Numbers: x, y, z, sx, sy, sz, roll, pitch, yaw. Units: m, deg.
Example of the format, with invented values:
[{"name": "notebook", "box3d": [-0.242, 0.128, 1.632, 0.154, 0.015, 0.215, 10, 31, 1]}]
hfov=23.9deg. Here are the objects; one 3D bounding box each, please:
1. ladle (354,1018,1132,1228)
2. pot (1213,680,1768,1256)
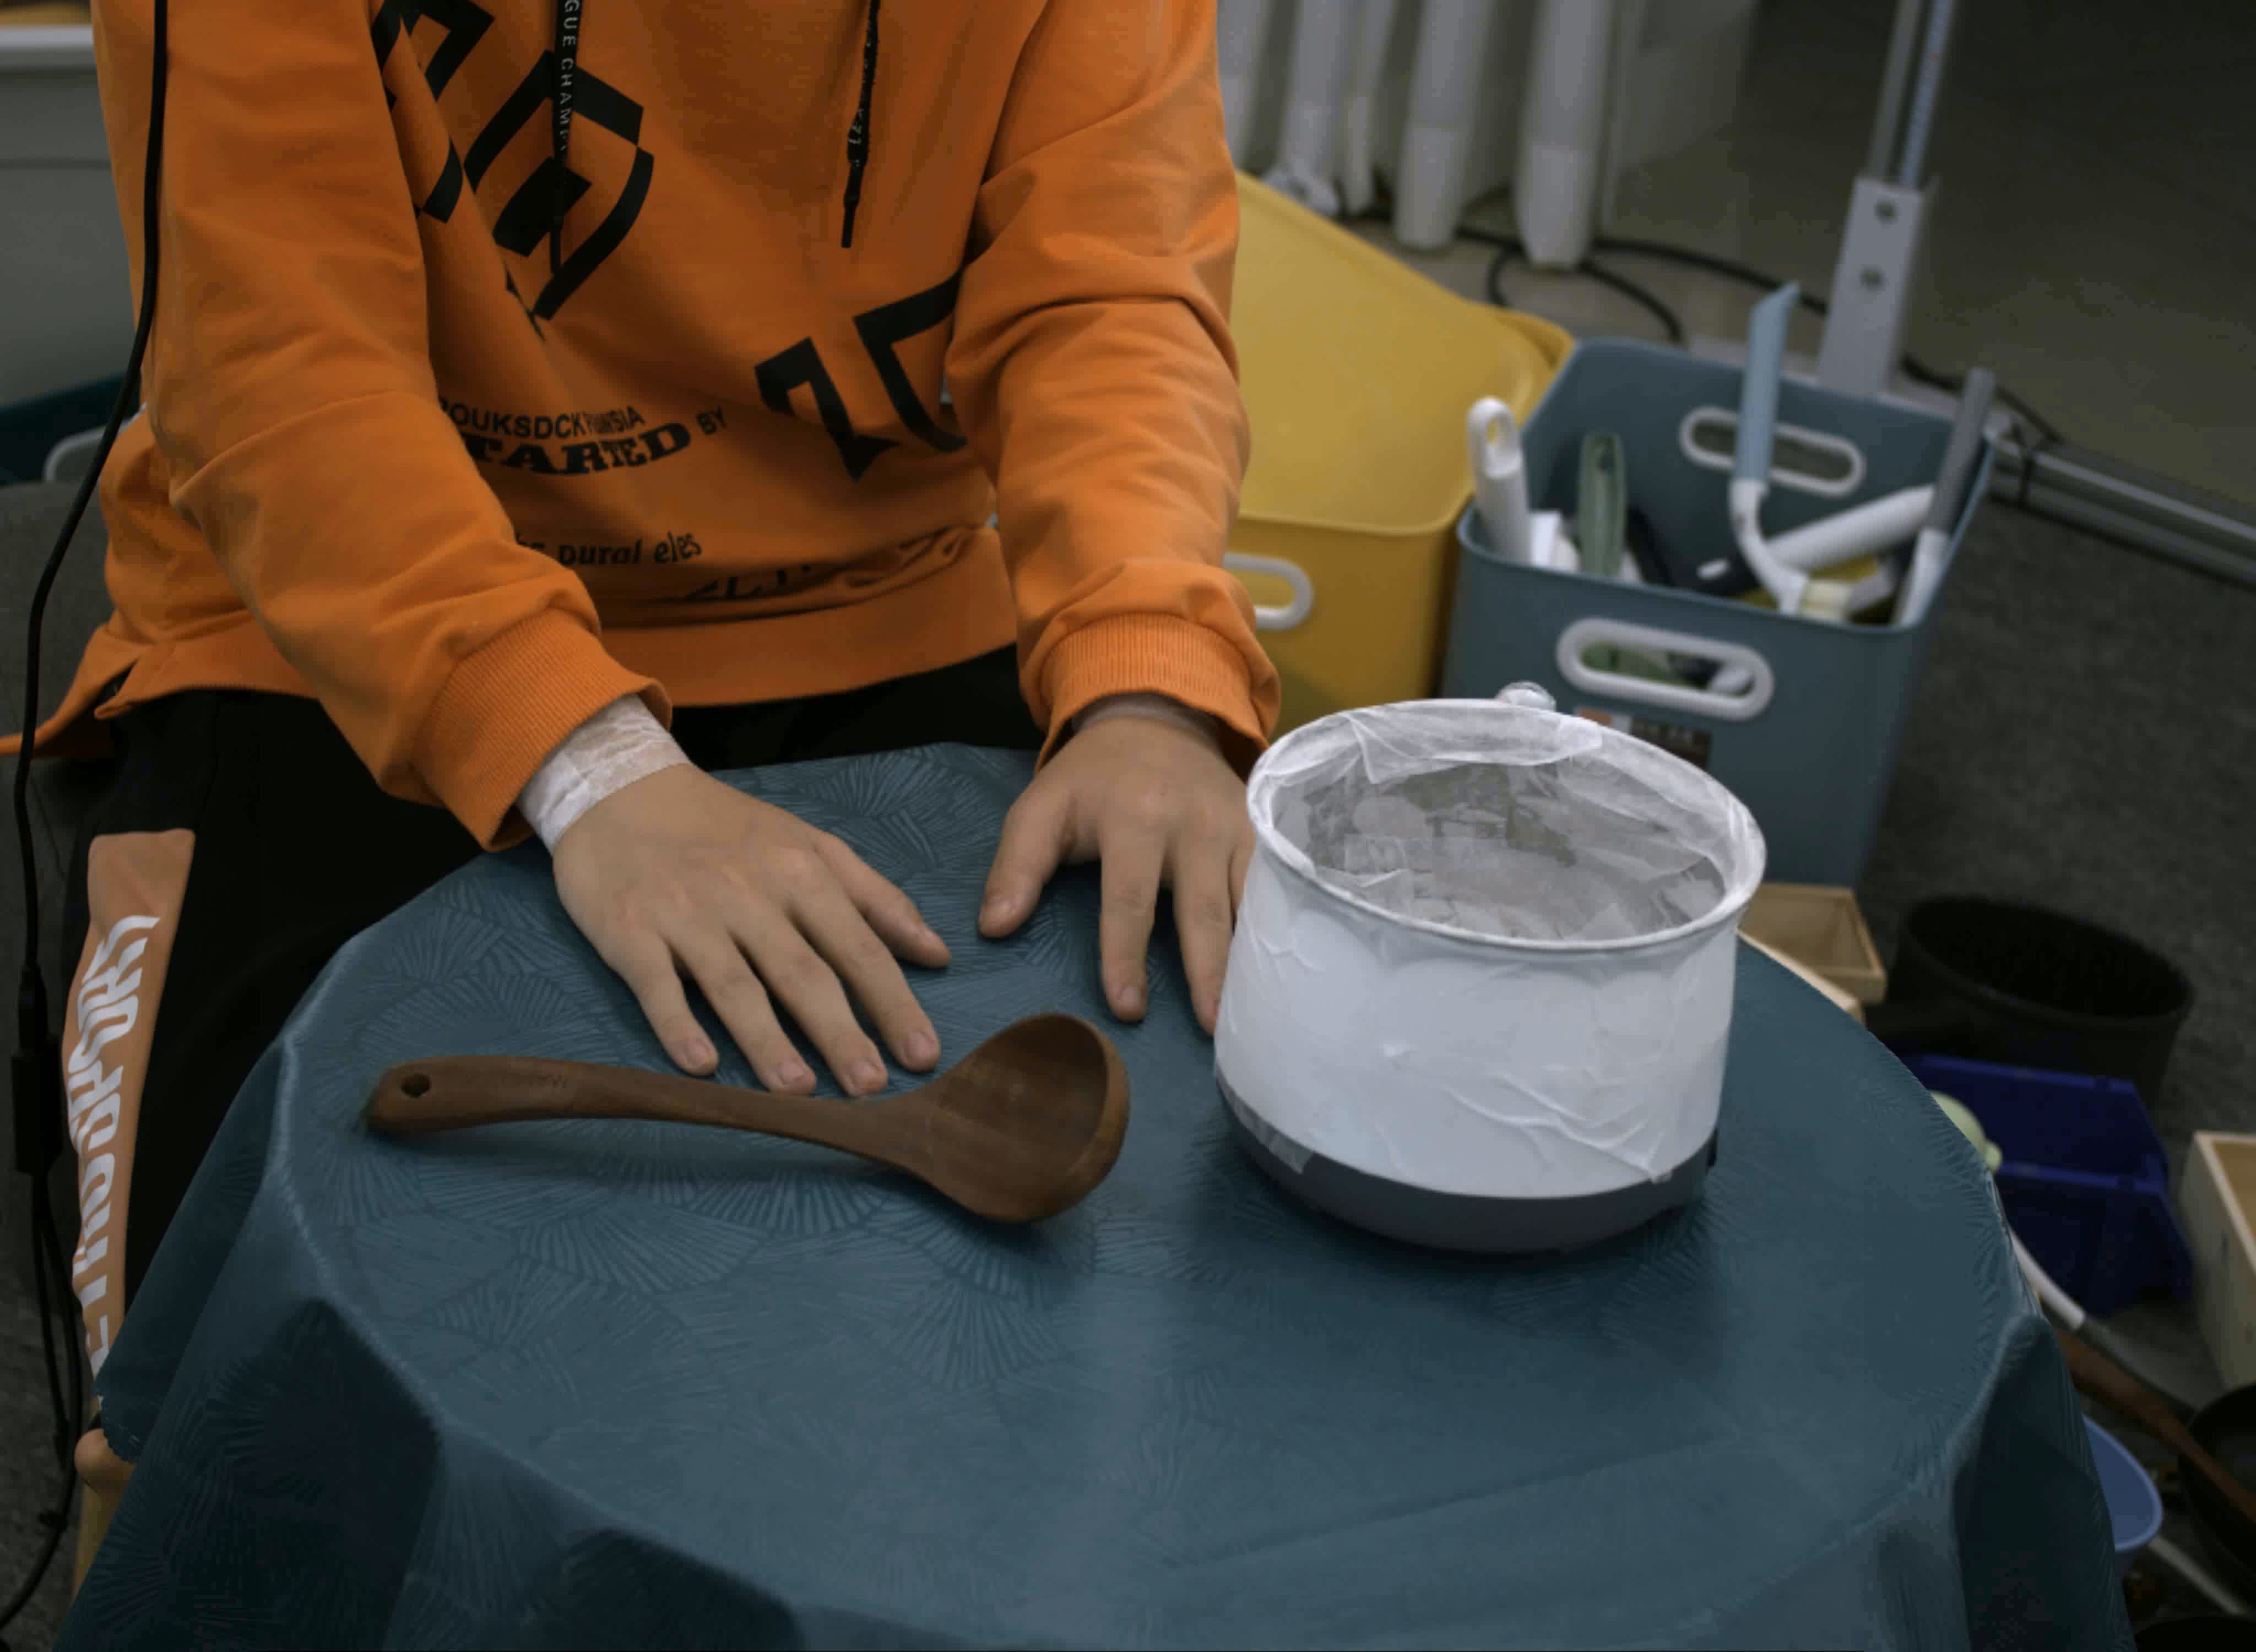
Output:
[{"name": "ladle", "box3d": [-0.128, 0.090, 1.774, 0.259, 0.065, 0.077, 6, 51, -2]}, {"name": "pot", "box3d": [0.123, 0.041, 1.841, 0.178, 0.136, 0.235, 9, 27, 3]}]
